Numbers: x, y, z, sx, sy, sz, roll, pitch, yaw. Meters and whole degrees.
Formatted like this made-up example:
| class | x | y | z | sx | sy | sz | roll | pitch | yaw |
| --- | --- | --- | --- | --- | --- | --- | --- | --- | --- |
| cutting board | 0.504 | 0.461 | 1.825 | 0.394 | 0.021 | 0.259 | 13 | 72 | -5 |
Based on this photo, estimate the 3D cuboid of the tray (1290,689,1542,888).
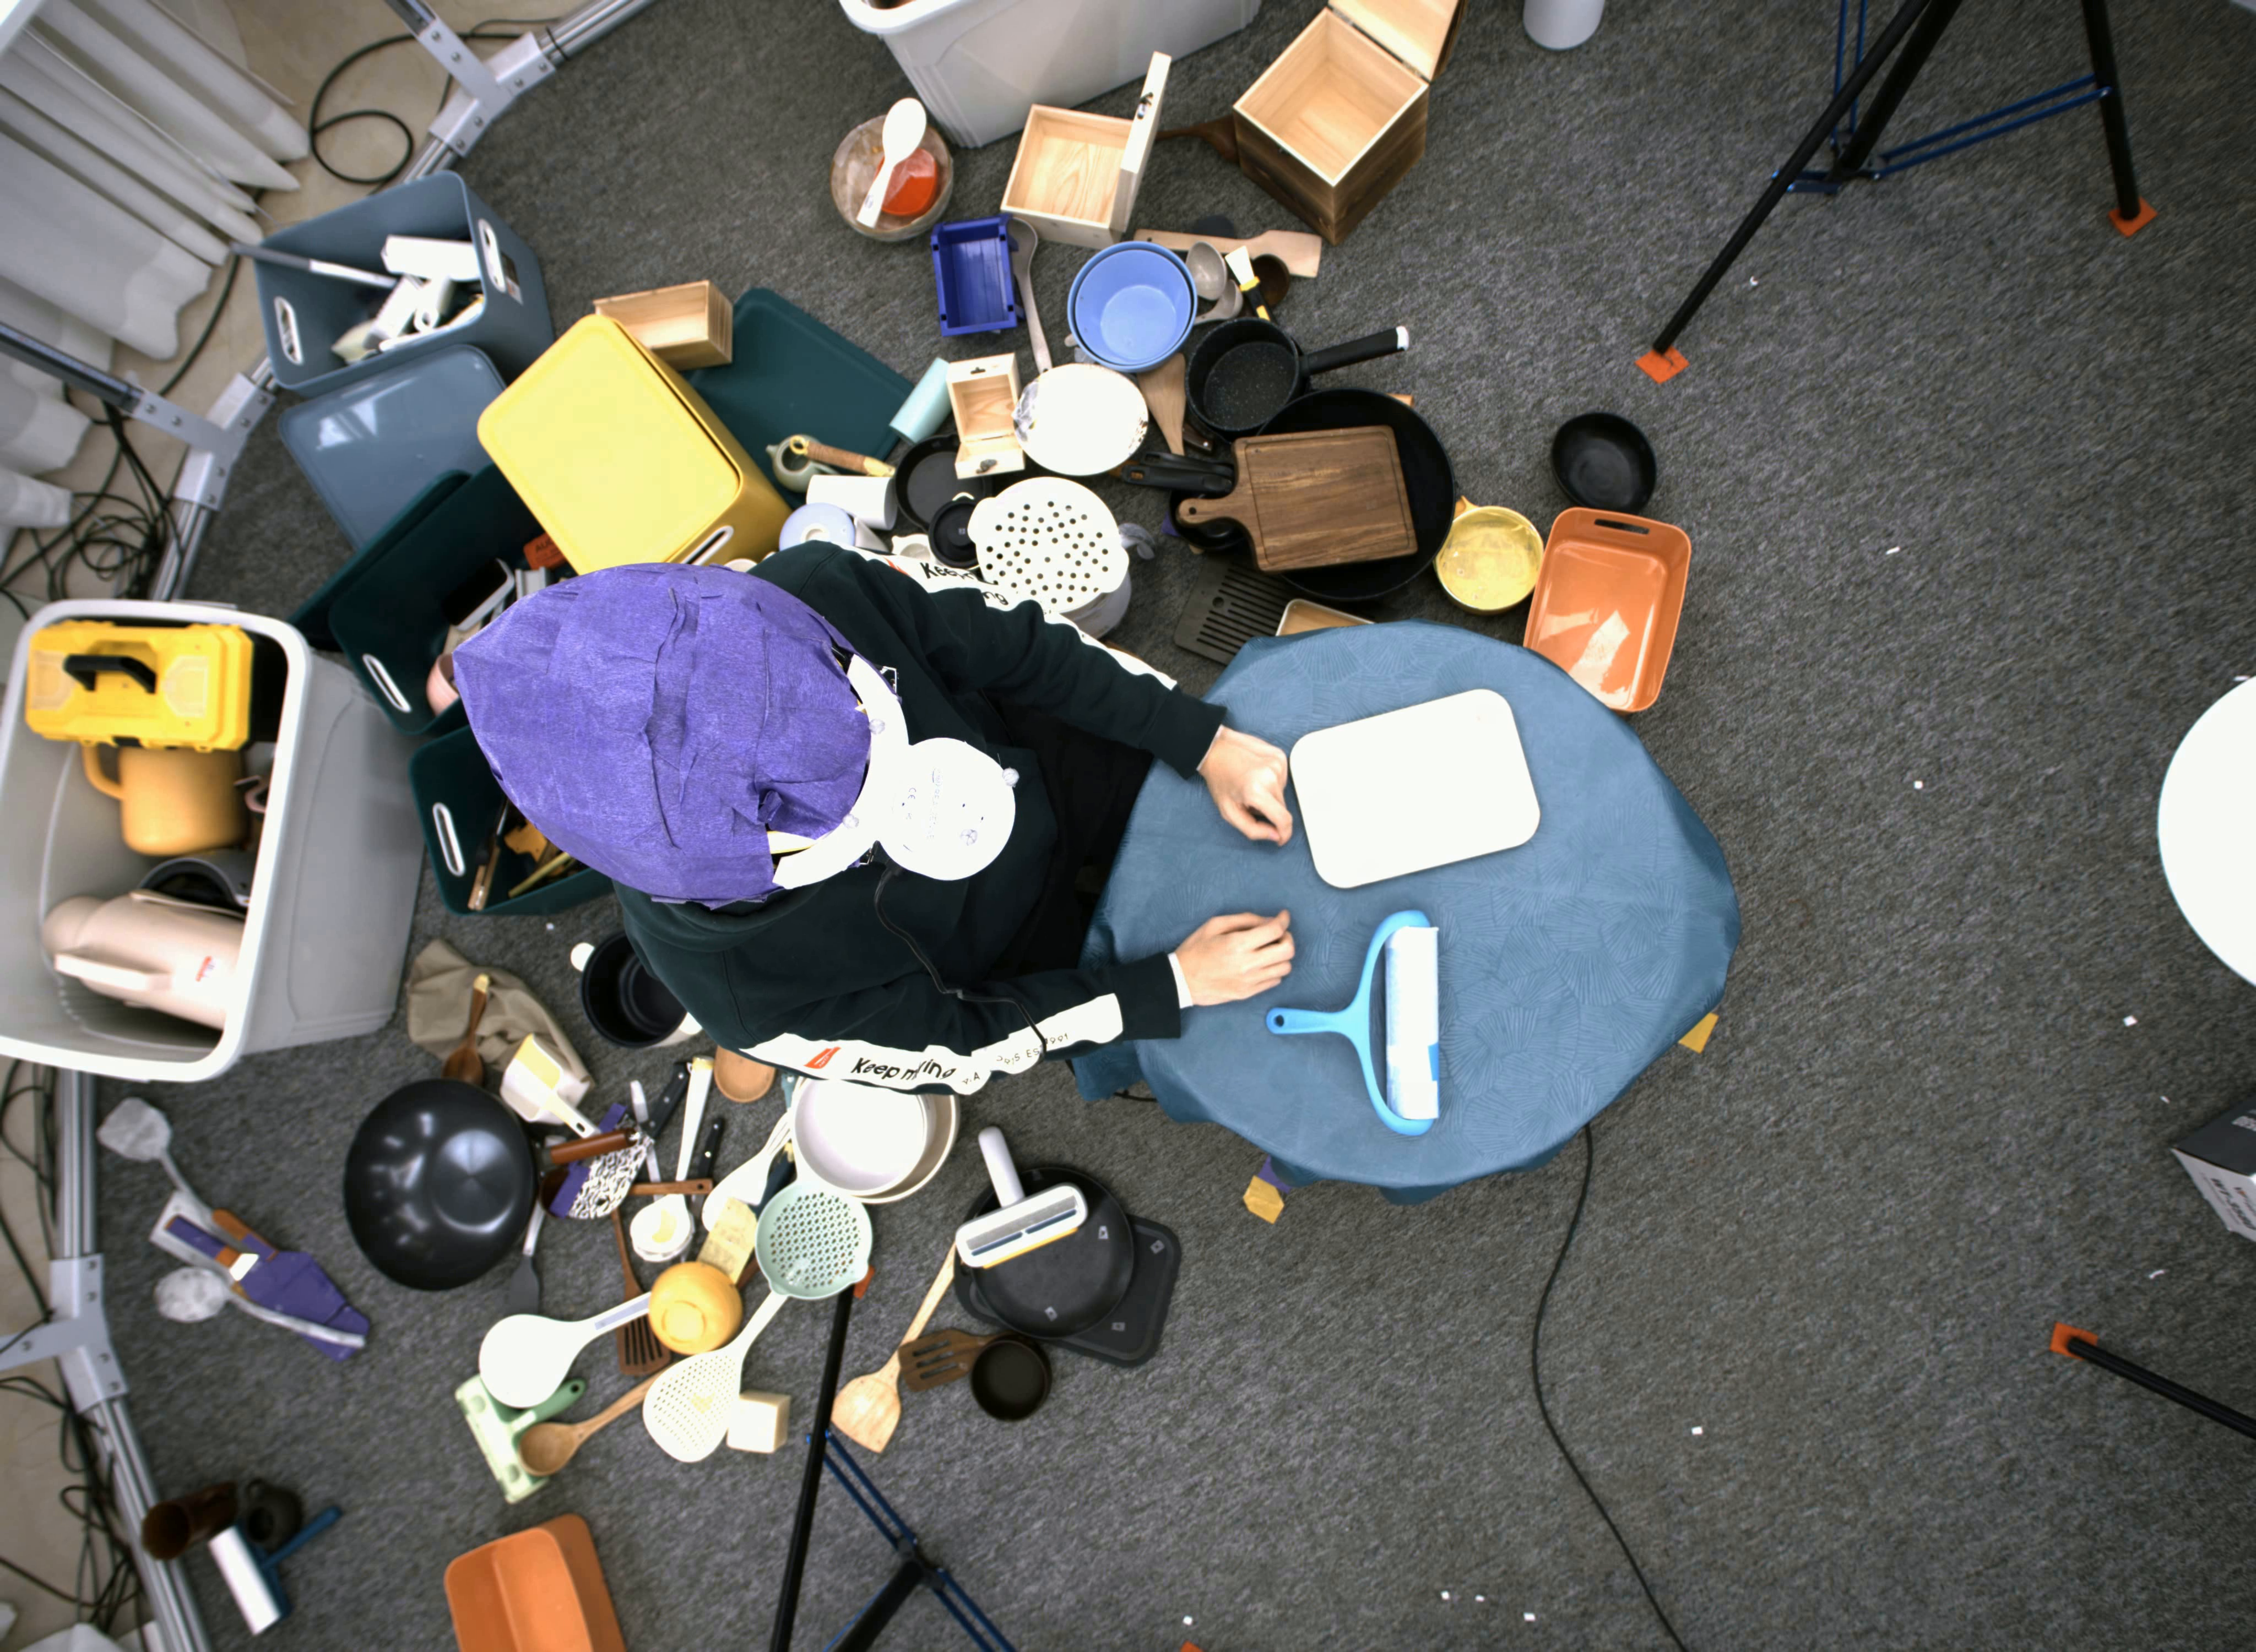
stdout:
| class | x | y | z | sx | sy | sz | roll | pitch | yaw |
| --- | --- | --- | --- | --- | --- | --- | --- | --- | --- |
| tray | 0.301 | -0.041 | 1.446 | 0.241 | 0.017 | 0.170 | -15 | 84 | 9 |

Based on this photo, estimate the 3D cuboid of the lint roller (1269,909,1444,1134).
| class | x | y | z | sx | sy | sz | roll | pitch | yaw |
| --- | --- | --- | --- | --- | --- | --- | --- | --- | --- |
| lint roller | 0.235 | 0.202 | 1.426 | 0.181 | 0.068 | 0.228 | -4 | 88 | 9 |
